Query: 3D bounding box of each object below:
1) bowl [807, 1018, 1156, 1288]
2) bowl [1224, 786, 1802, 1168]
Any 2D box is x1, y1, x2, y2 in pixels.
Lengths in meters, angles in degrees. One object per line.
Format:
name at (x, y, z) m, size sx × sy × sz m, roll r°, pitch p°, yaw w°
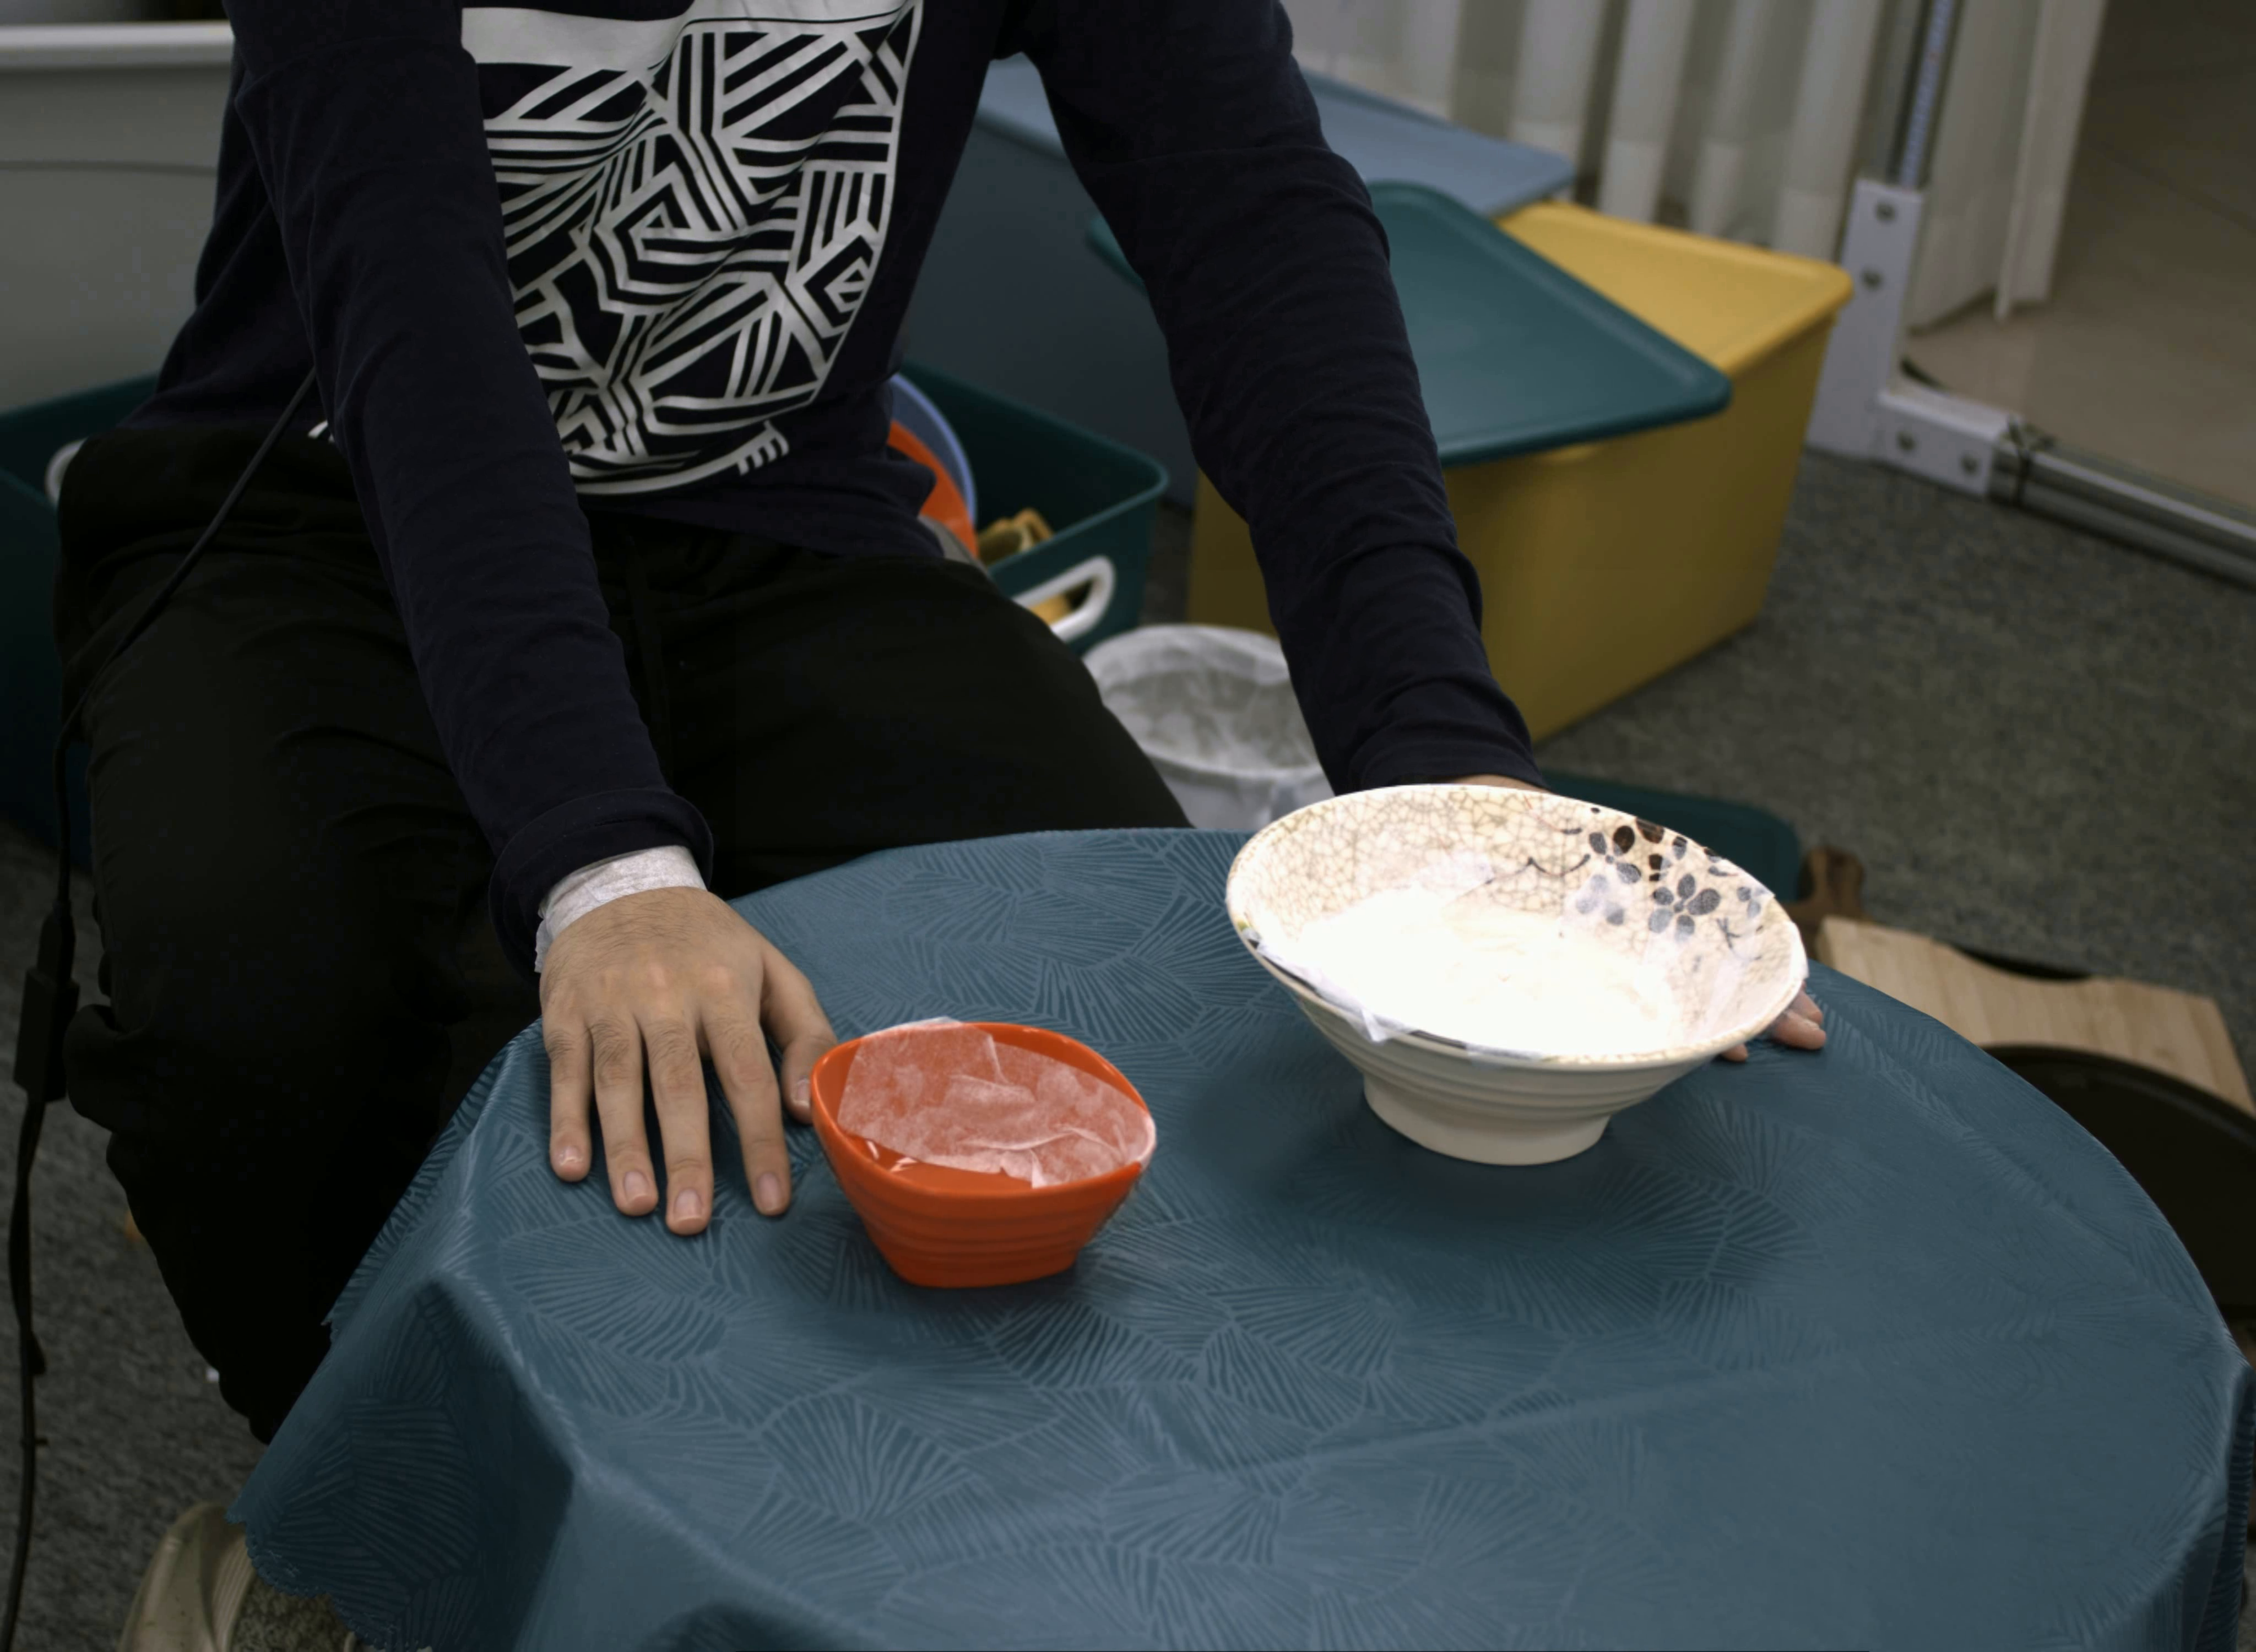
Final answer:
bowl at (-0.051, 0.112, 1.759) m, size 0.118 × 0.051 × 0.119 m, roll 4°, pitch 27°, yaw -3°
bowl at (0.130, 0.065, 1.867) m, size 0.203 × 0.078 × 0.205 m, roll 6°, pitch 26°, yaw -3°
